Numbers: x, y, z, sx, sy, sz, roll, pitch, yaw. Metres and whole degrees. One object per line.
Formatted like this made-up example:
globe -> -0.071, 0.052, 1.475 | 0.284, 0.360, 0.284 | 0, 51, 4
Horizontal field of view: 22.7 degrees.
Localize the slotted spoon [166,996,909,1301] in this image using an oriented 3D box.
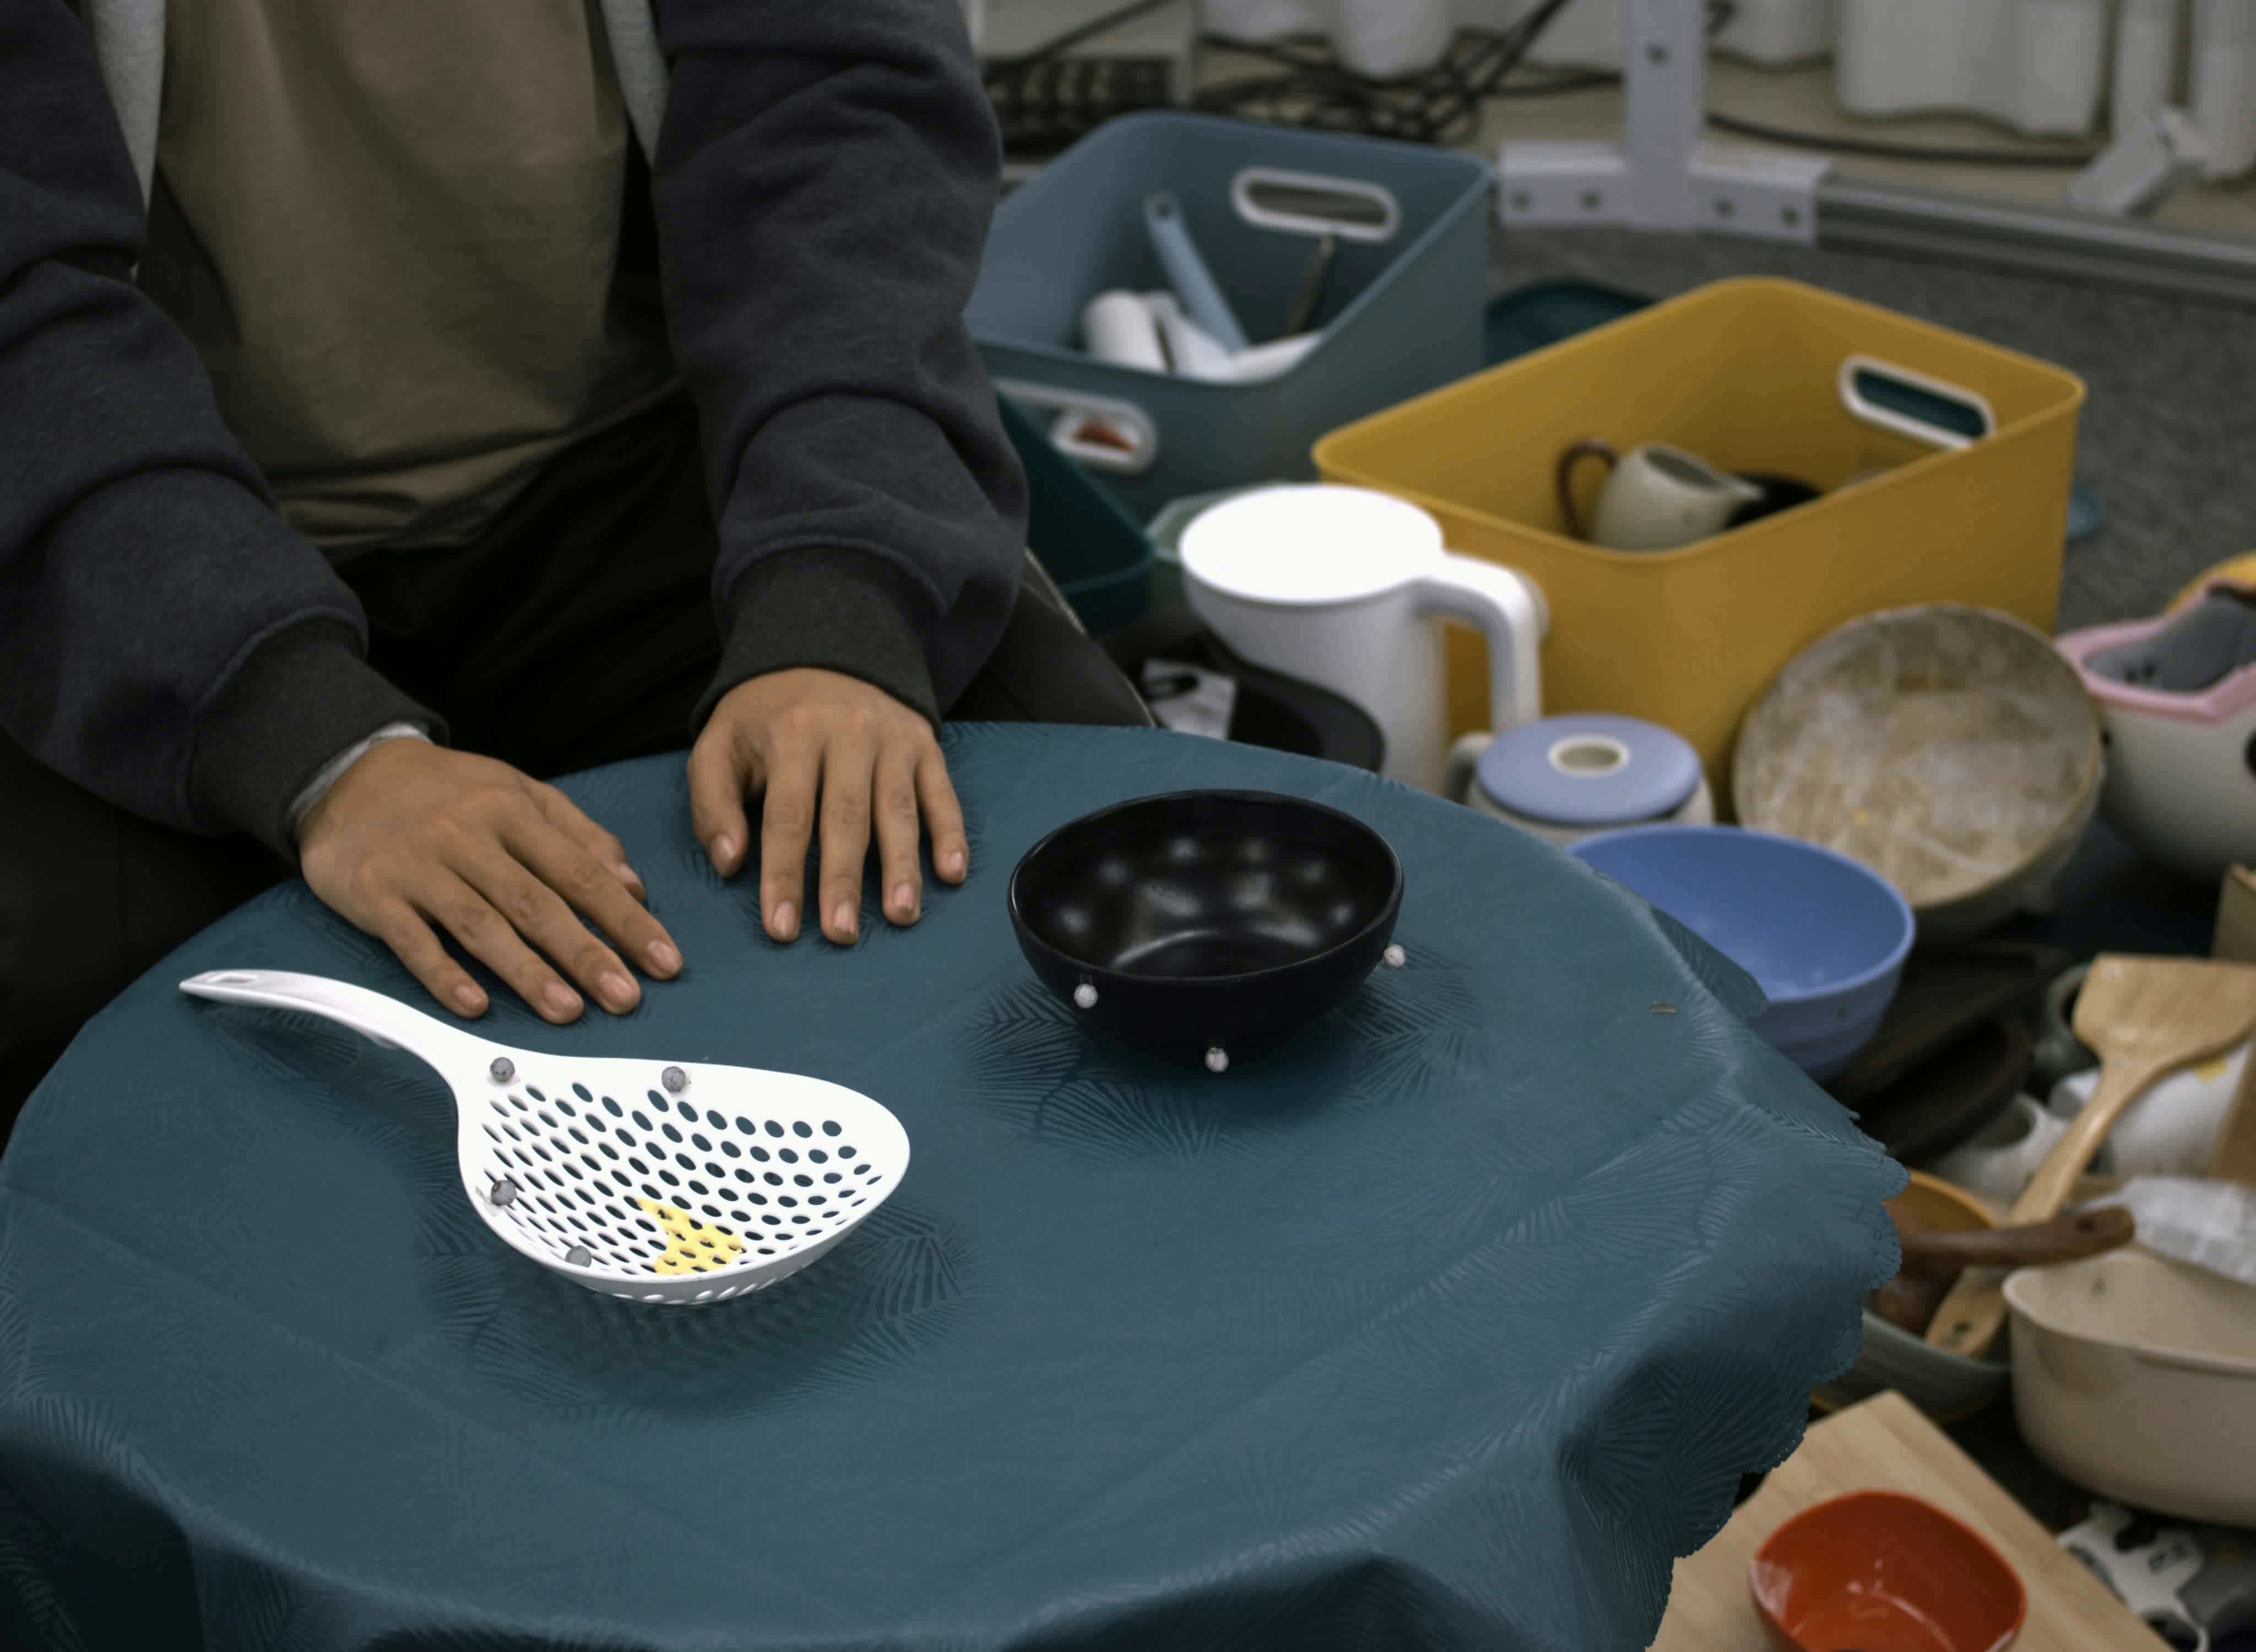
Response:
slotted spoon -> -0.215, 0.094, 1.894 | 0.347, 0.050, 0.138 | 22, 40, 40
